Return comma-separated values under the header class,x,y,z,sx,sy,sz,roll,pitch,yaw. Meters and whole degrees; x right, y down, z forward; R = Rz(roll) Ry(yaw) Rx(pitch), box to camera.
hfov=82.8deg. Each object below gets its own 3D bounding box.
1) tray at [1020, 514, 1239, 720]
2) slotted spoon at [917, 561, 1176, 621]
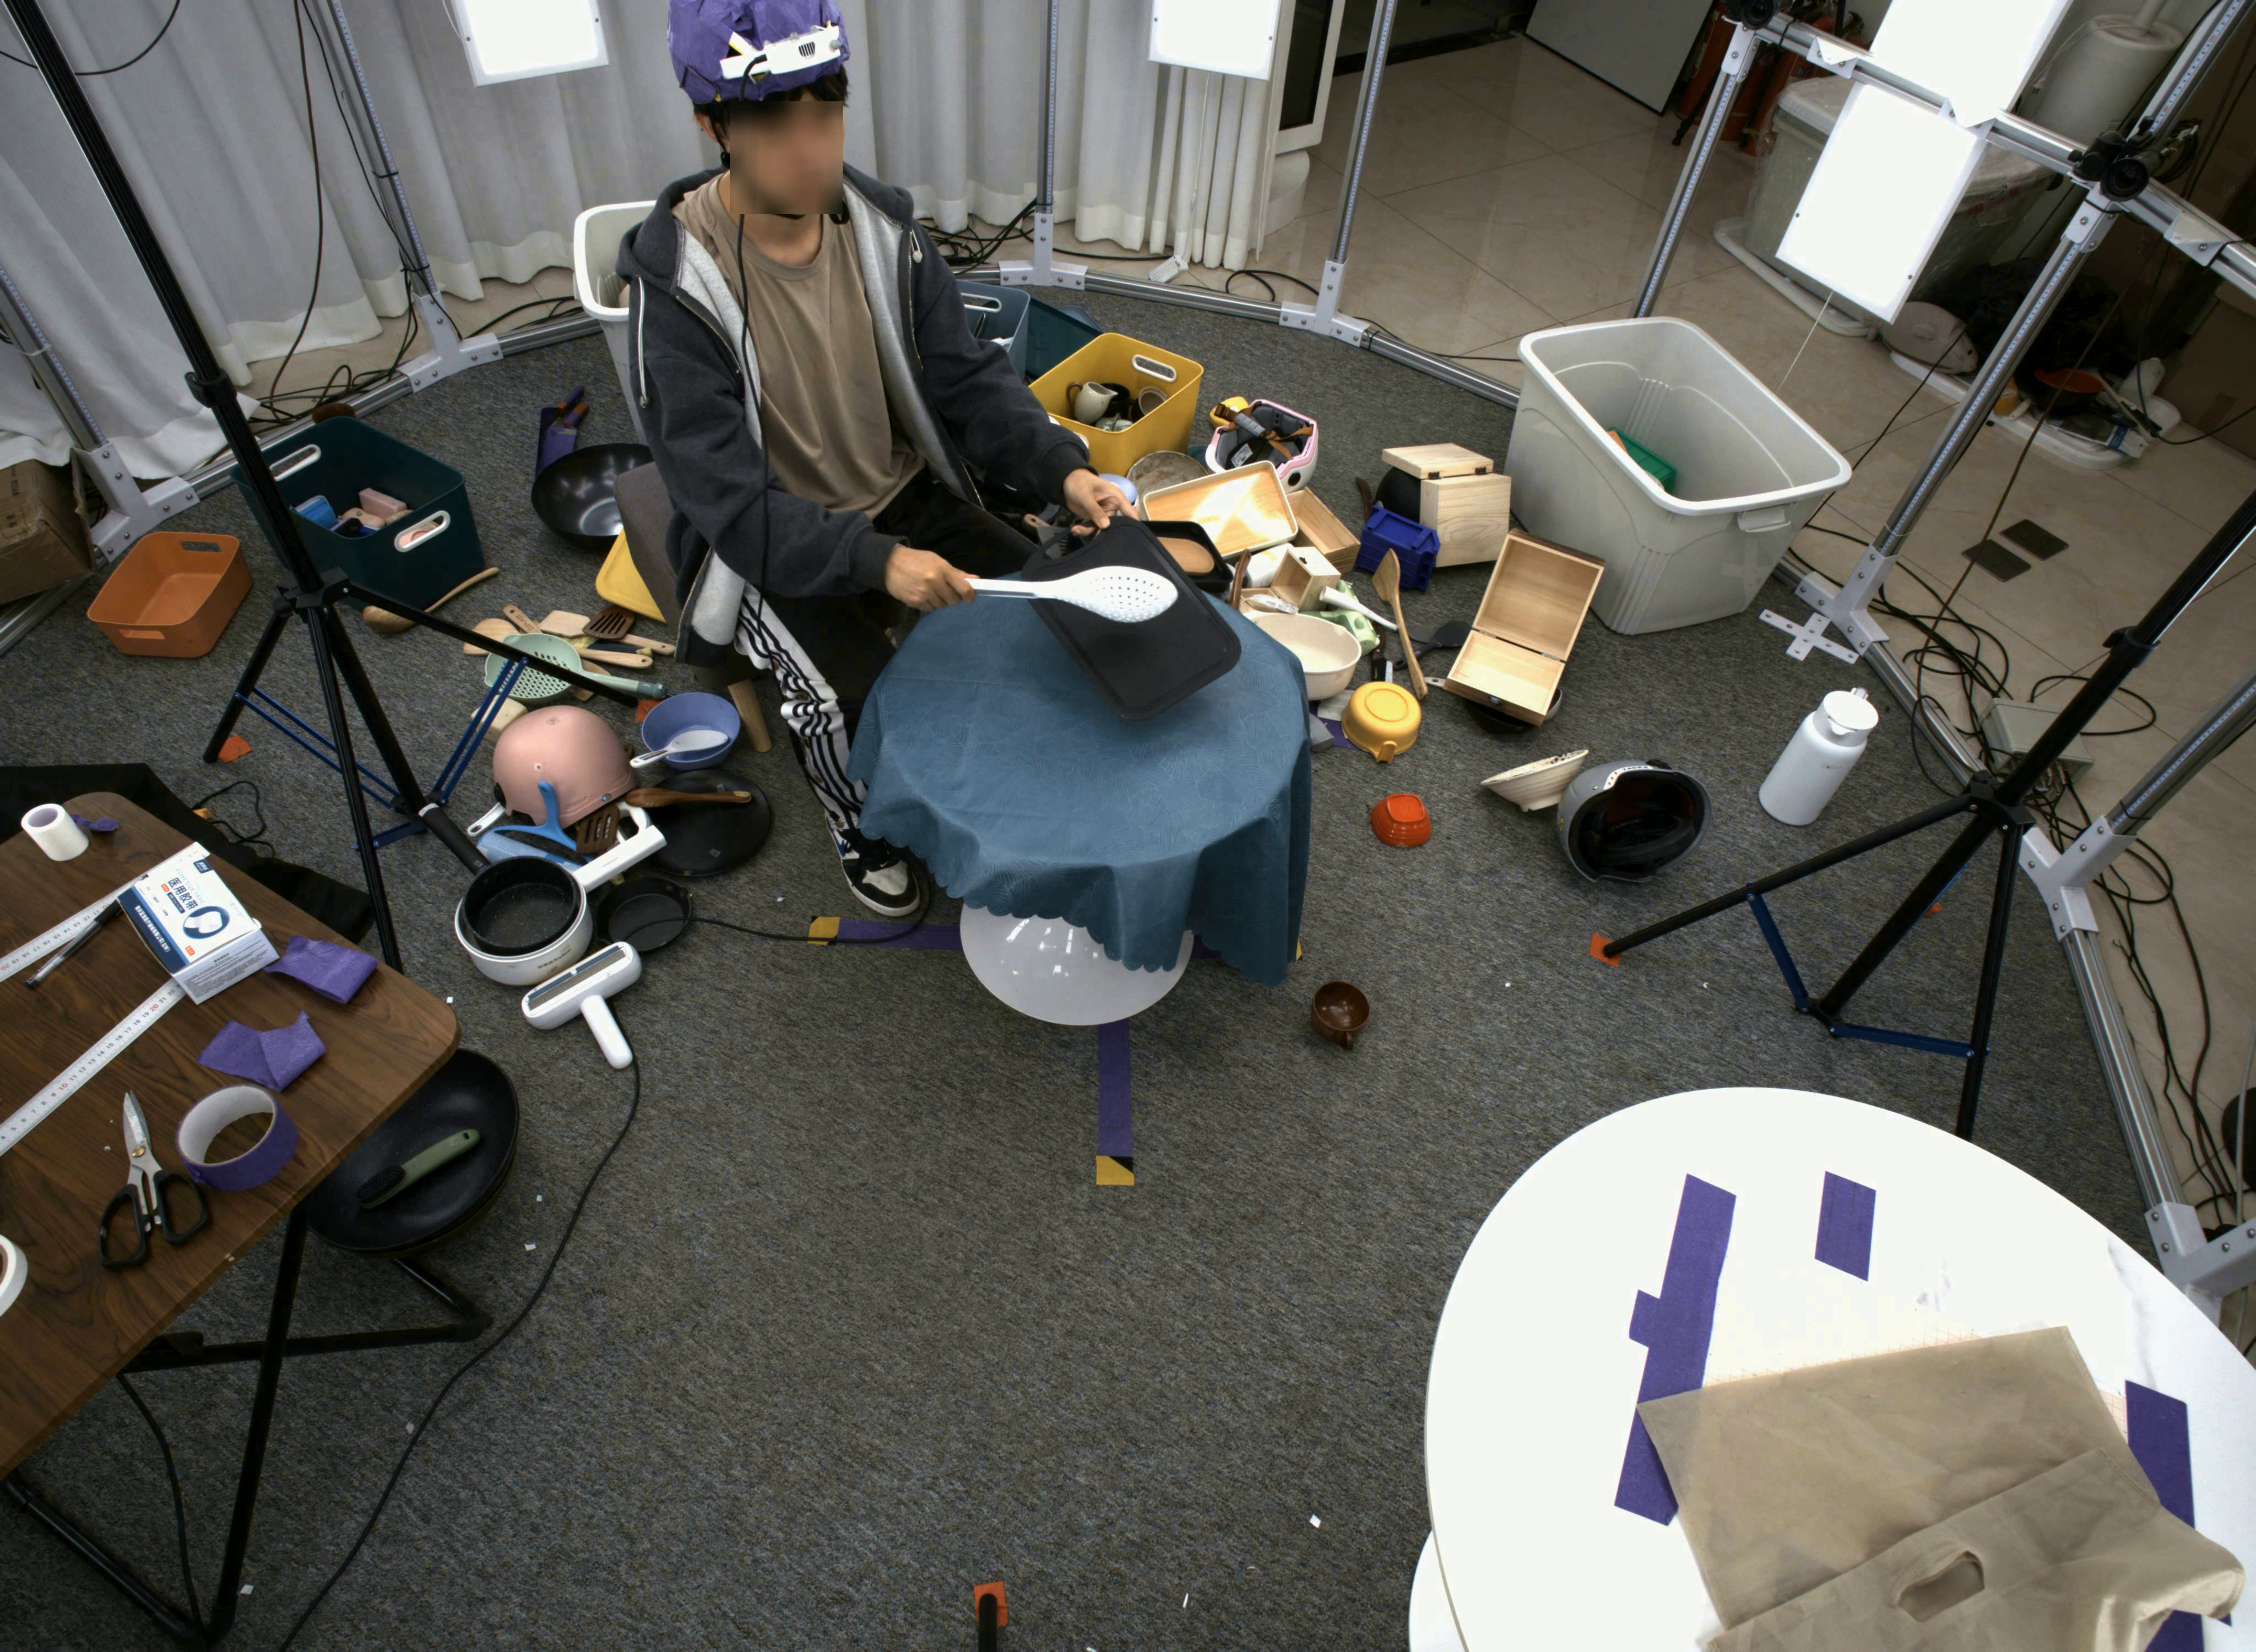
class,x,y,z,sx,sy,sz,roll,pitch,yaw
tray,-0.005,-0.304,1.802,0.212,0.009,0.330,-31,68,-13
slotted spoon,-0.111,-0.318,1.719,0.350,0.134,0.046,9,74,11
